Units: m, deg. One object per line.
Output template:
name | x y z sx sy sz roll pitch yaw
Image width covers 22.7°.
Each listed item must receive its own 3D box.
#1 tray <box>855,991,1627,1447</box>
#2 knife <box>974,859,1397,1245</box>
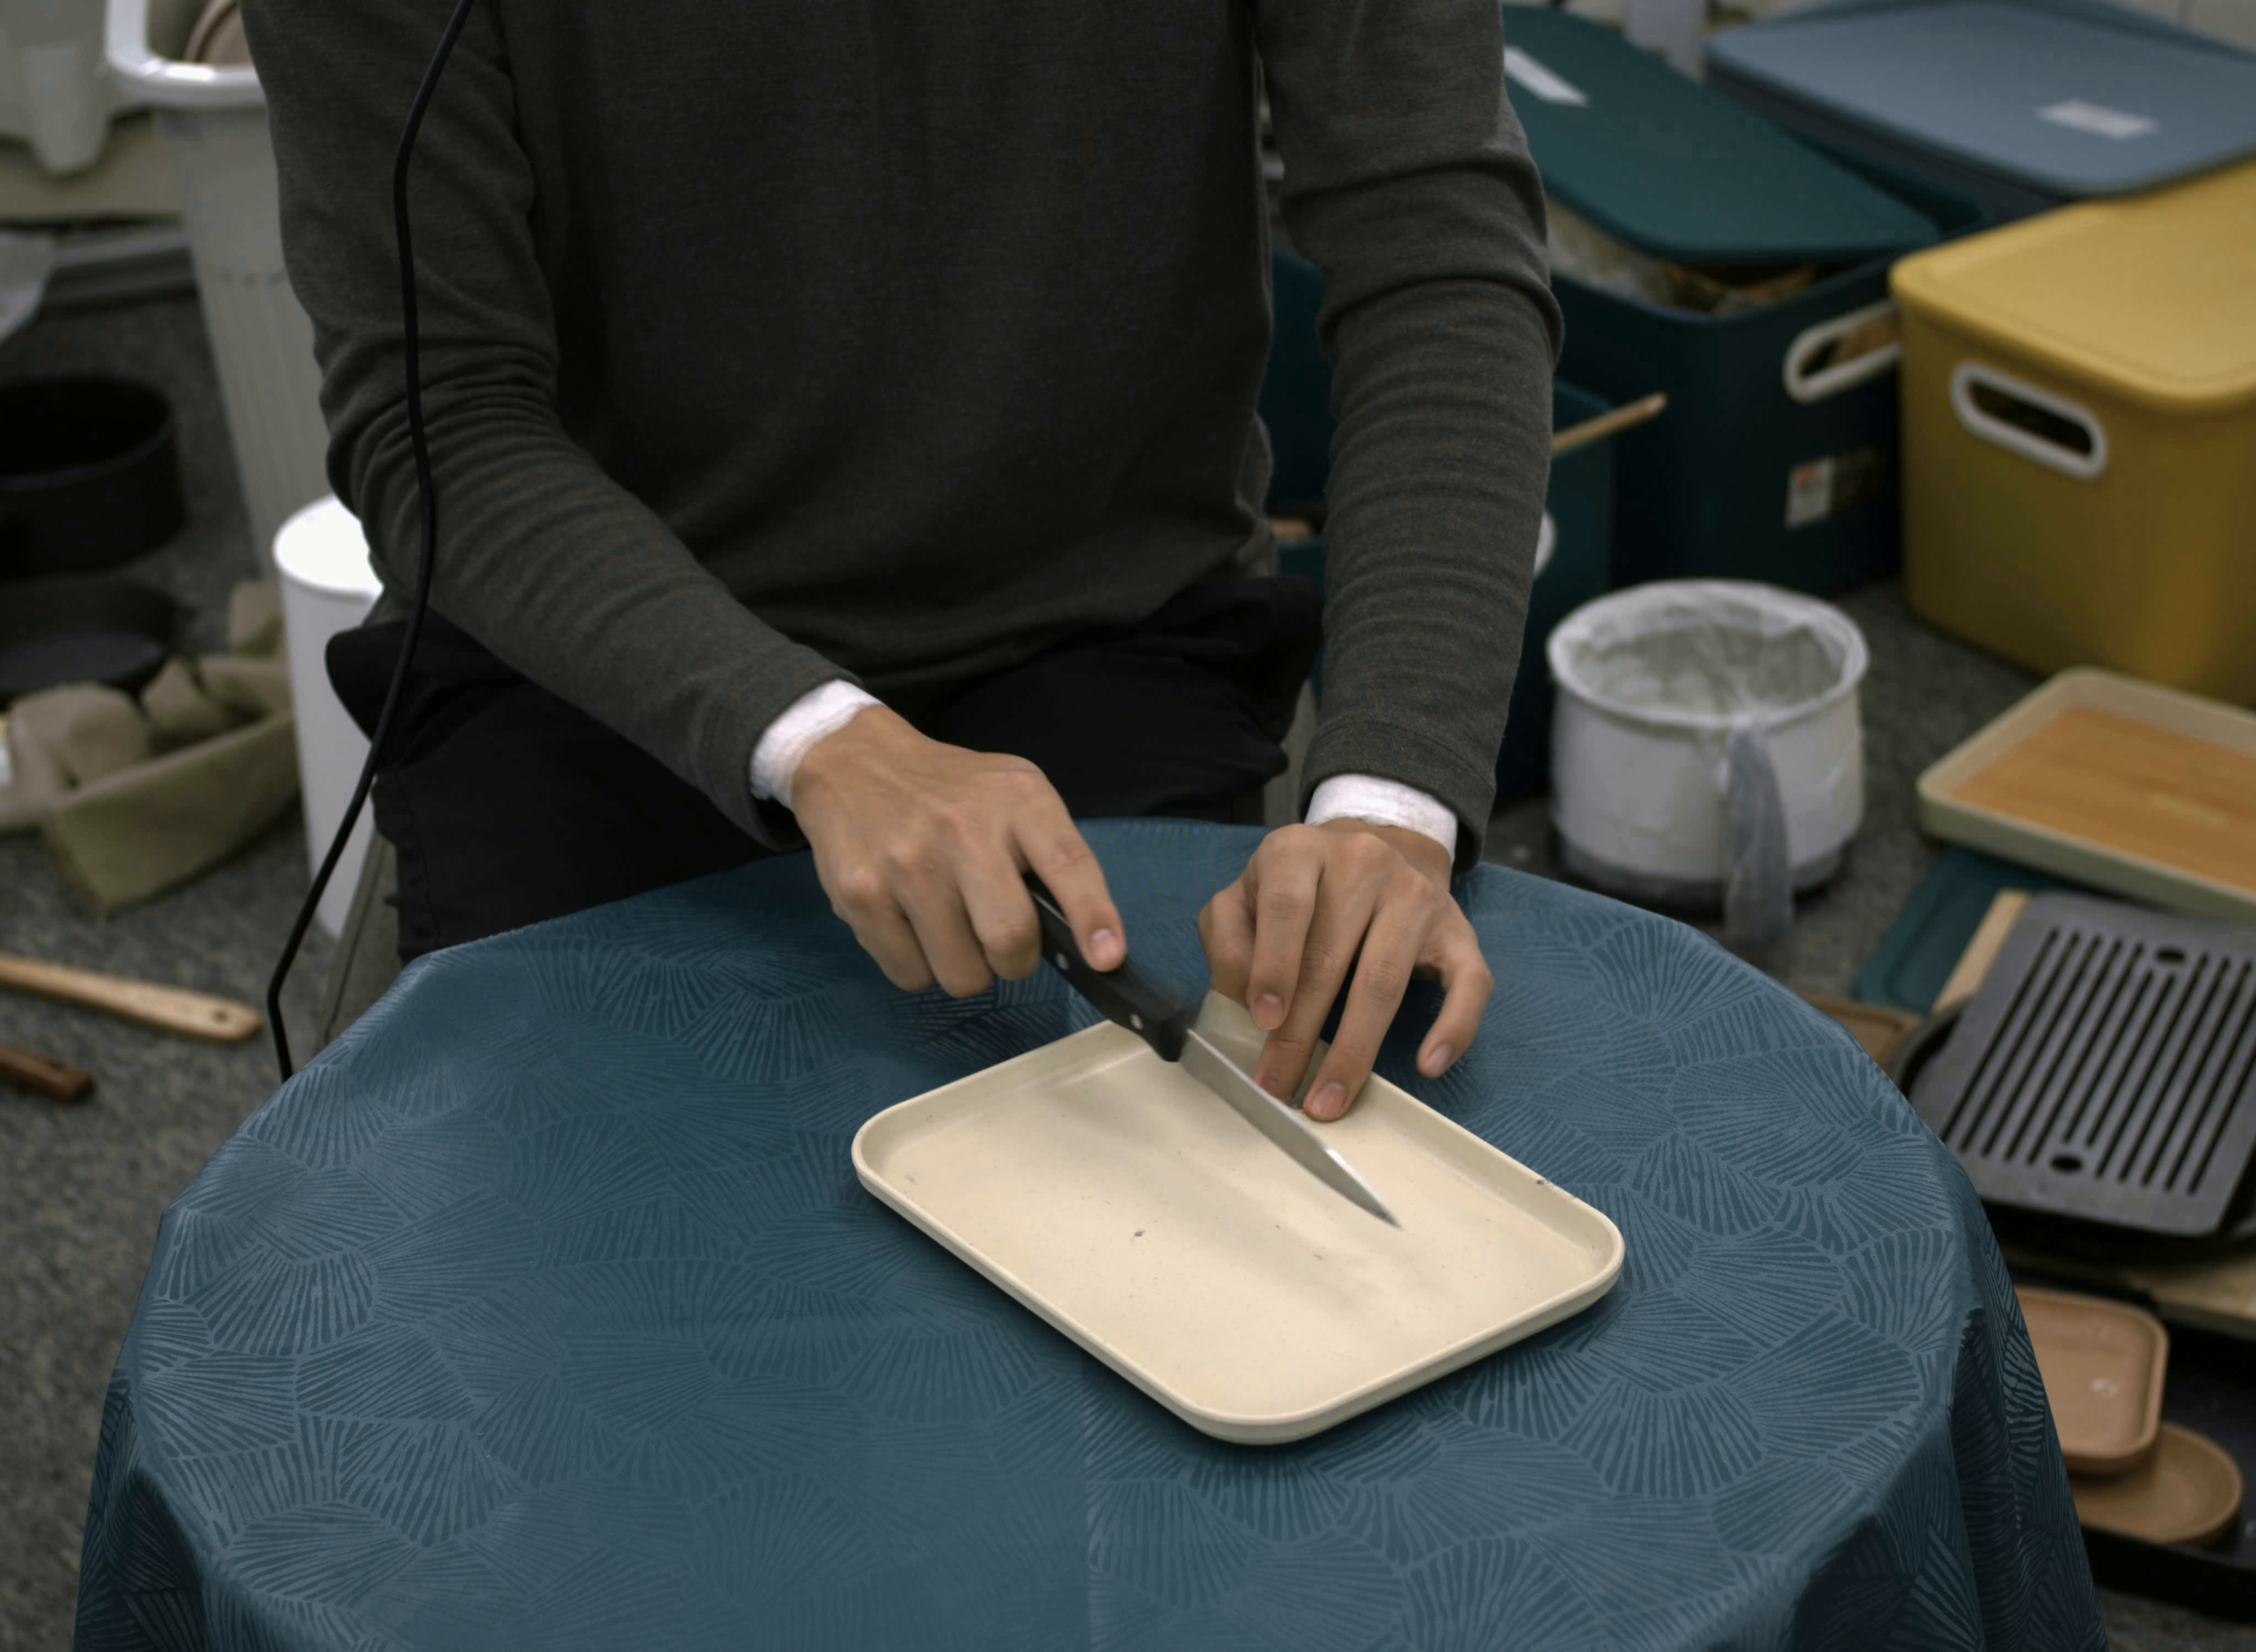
tray | 0.034 0.126 1.831 0.173 0.017 0.240 -21 32 -29
knife | 0.018 0.072 1.858 0.016 0.024 0.239 -25 42 -25
